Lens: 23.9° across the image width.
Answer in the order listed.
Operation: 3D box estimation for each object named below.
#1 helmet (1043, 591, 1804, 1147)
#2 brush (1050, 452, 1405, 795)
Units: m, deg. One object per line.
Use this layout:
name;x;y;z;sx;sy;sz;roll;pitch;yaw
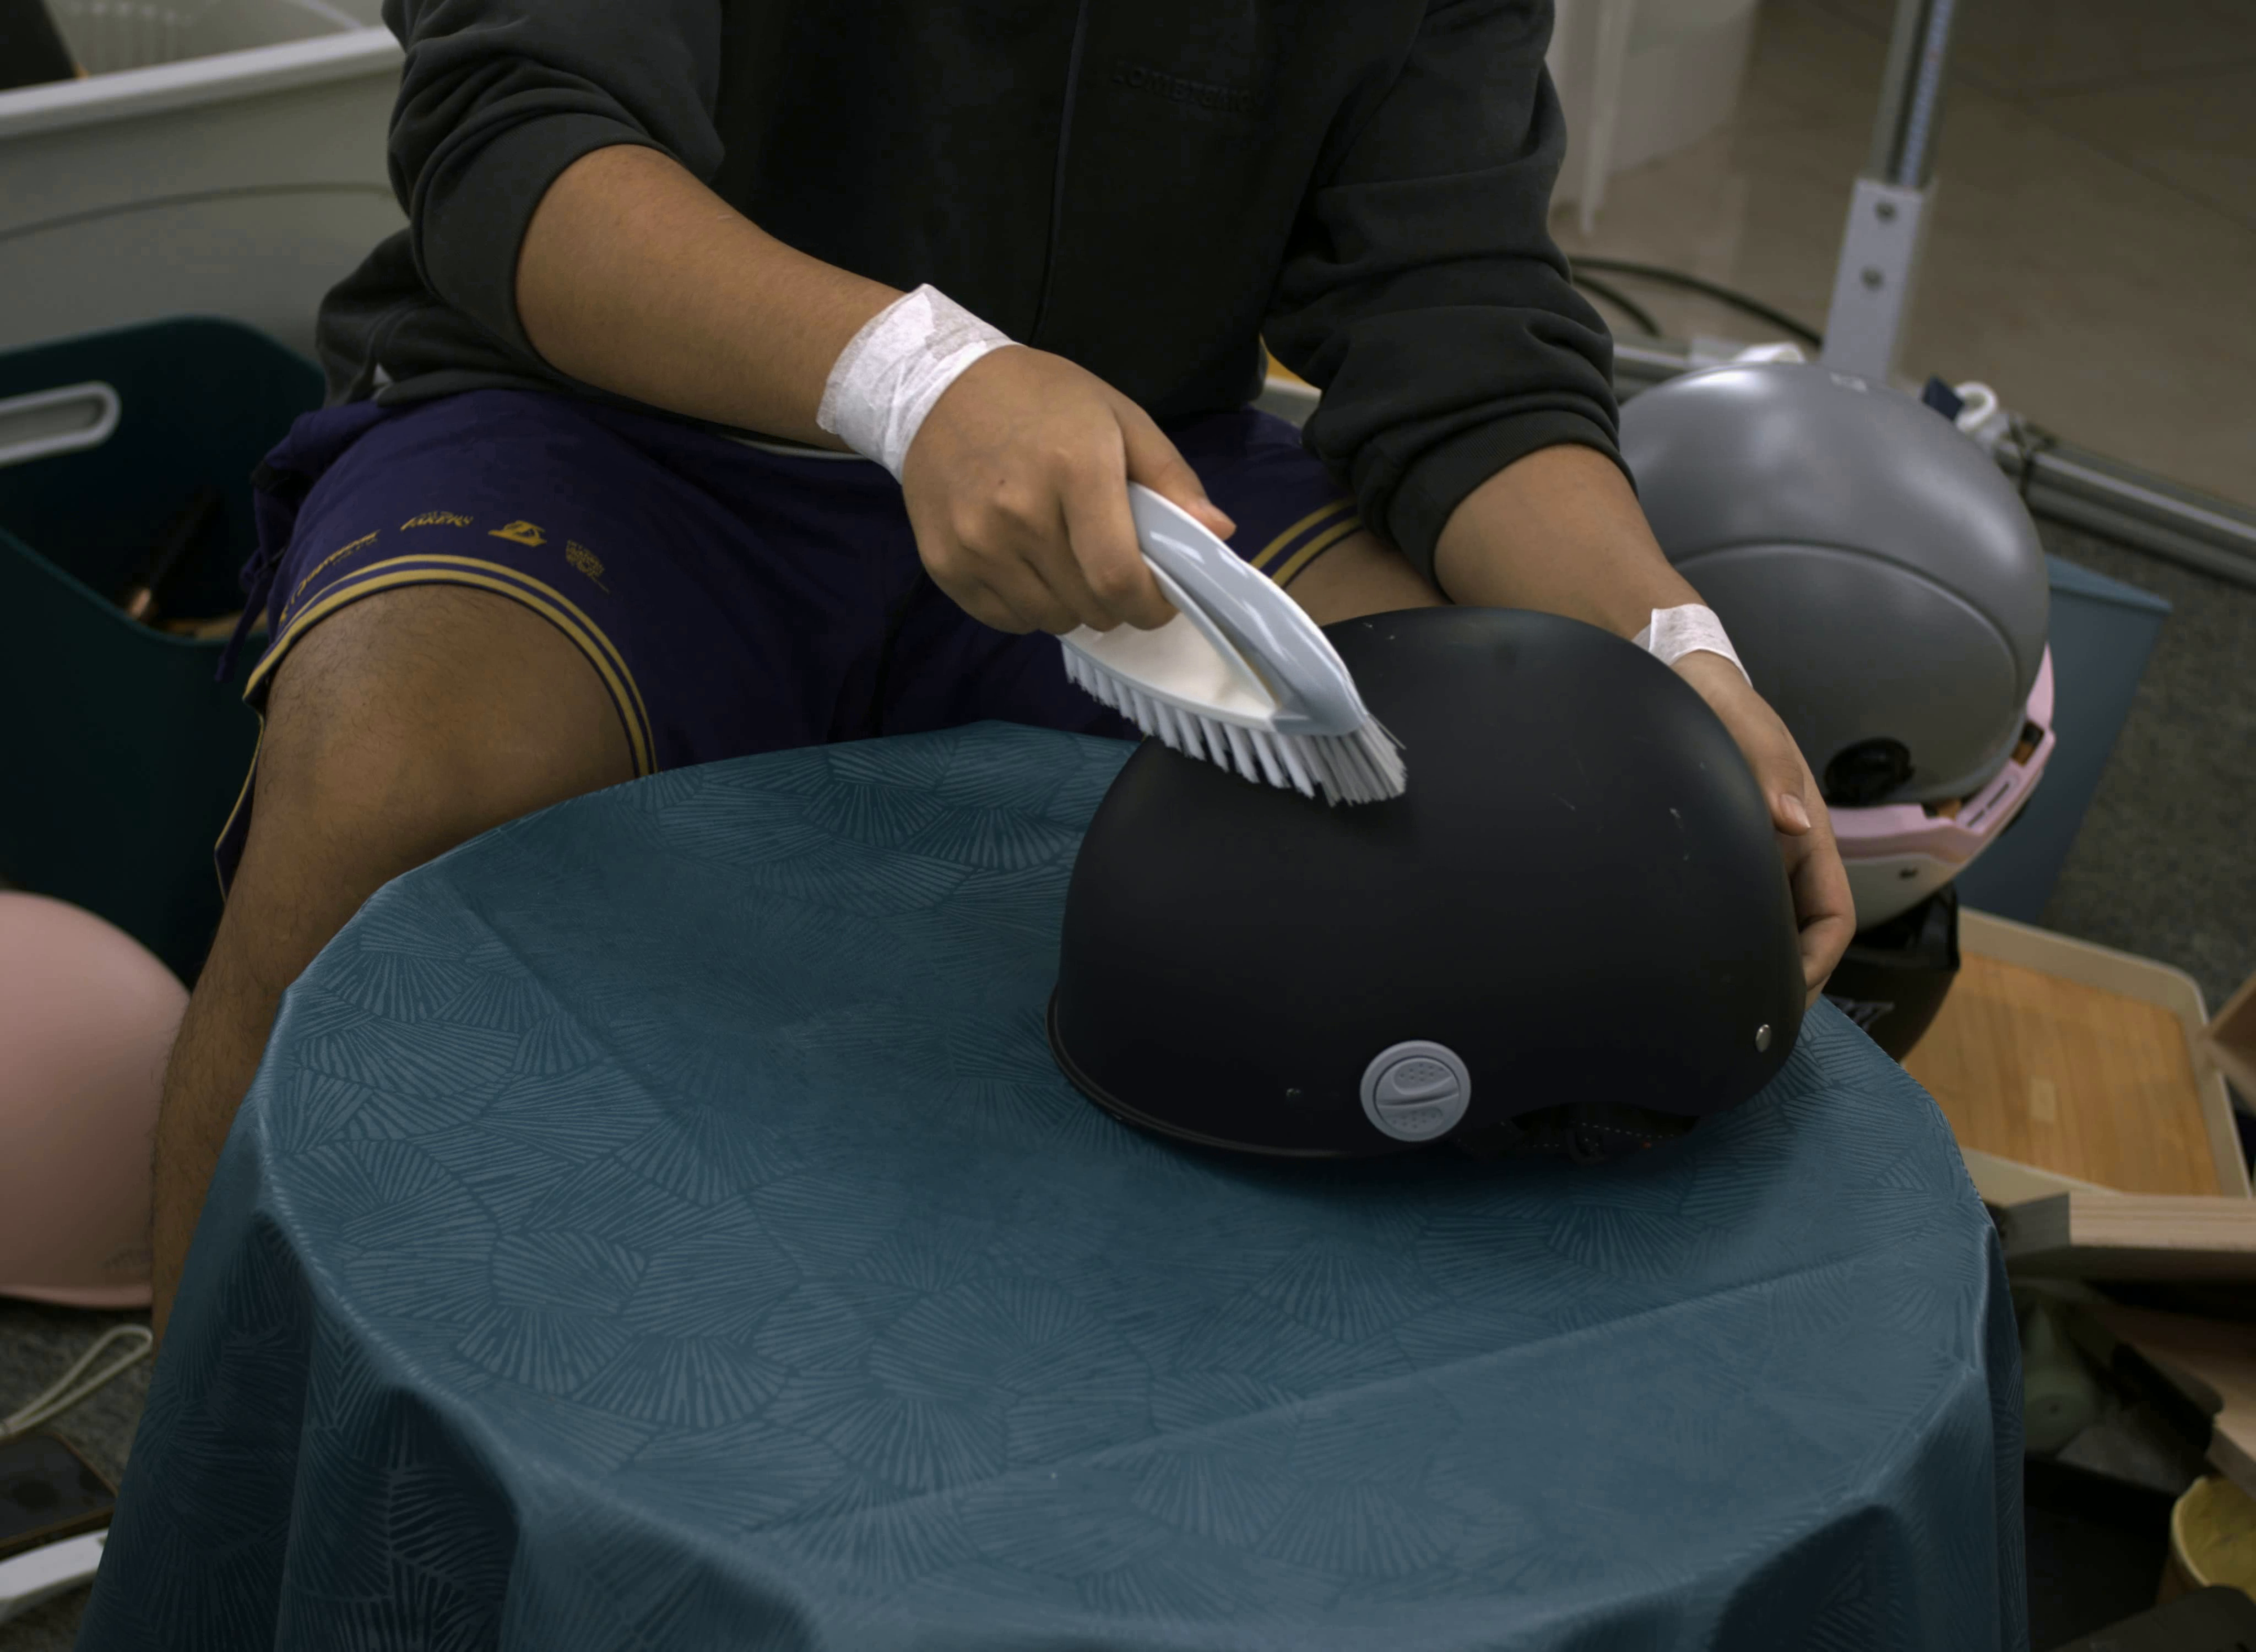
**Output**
helmet;0.108;0.005;1.878;0.272;0.166;0.232;-3;26;-13
brush;0.030;-0.074;1.806;0.061;0.093;0.177;-38;40;-12
